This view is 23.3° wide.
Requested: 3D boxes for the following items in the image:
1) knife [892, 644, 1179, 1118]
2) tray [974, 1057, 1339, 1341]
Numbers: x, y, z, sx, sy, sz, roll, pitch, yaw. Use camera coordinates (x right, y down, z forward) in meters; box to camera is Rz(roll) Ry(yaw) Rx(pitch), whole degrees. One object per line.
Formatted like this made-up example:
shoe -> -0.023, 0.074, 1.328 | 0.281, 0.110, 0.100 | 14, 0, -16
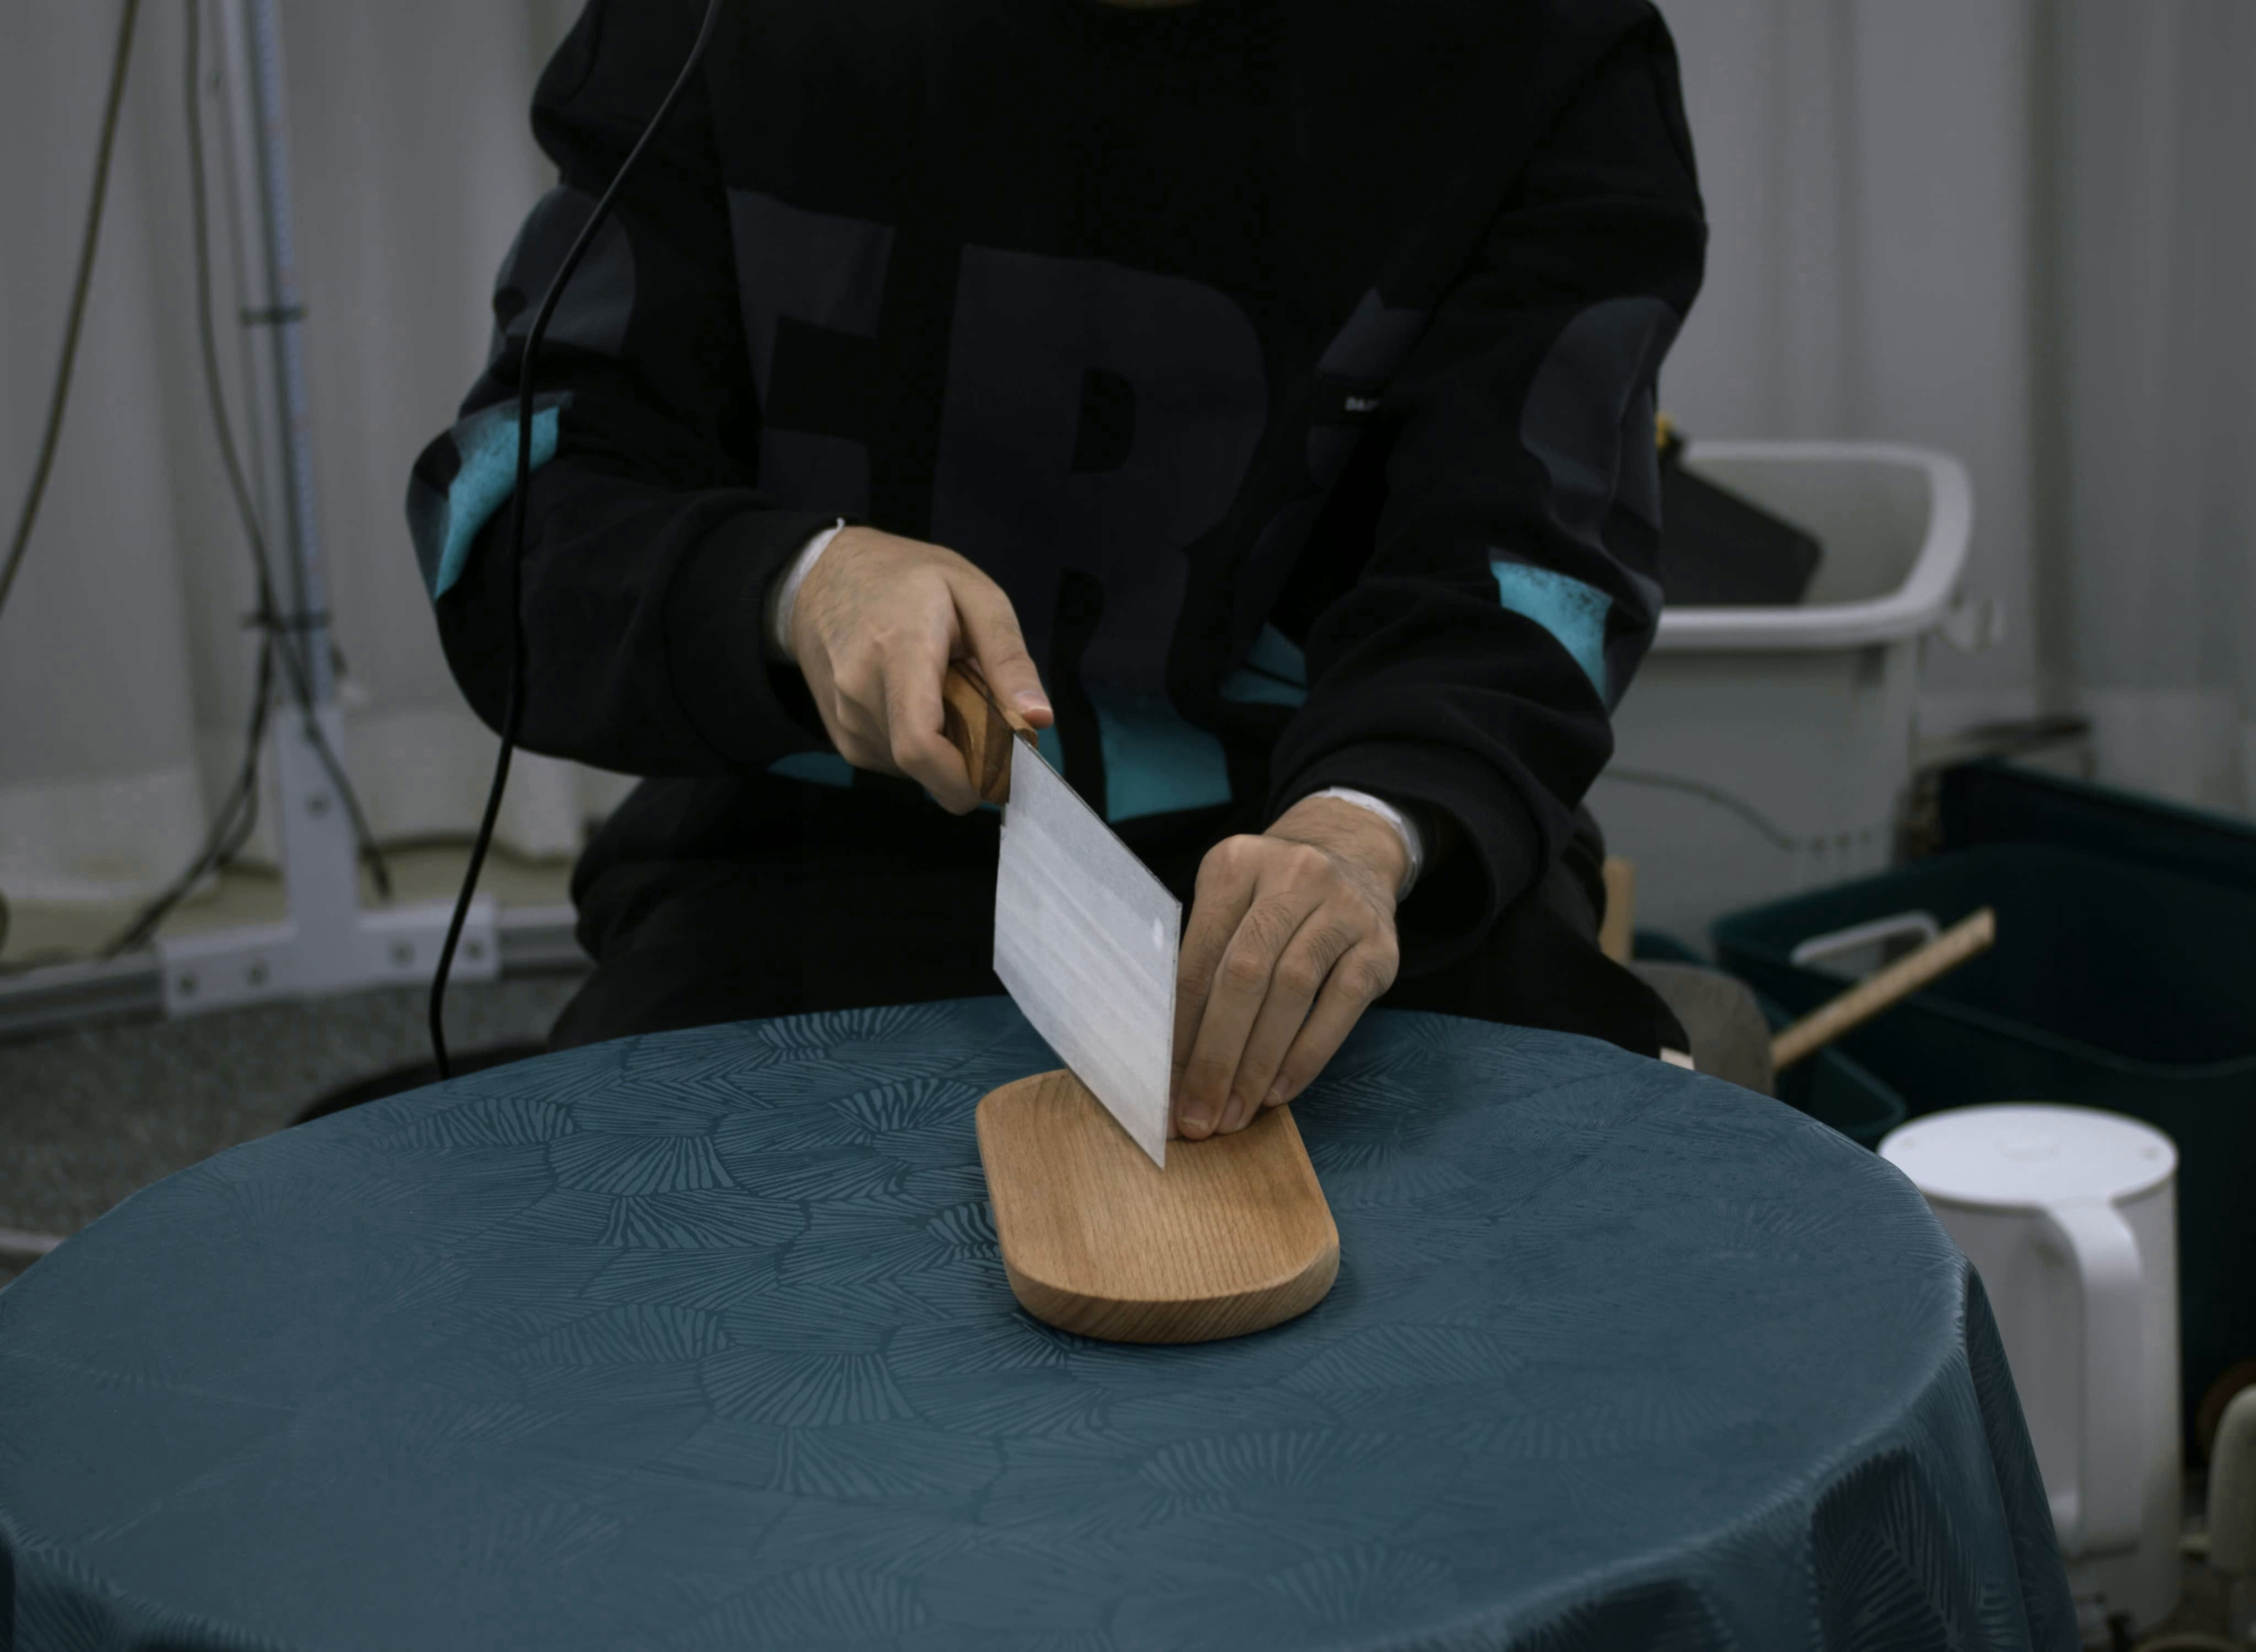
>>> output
knife -> -0.031, 0.017, 1.820 | 0.021, 0.092, 0.309 | -2, 18, -17
tray -> 0.007, 0.113, 1.688 | 0.101, 0.020, 0.233 | -3, 14, -4
